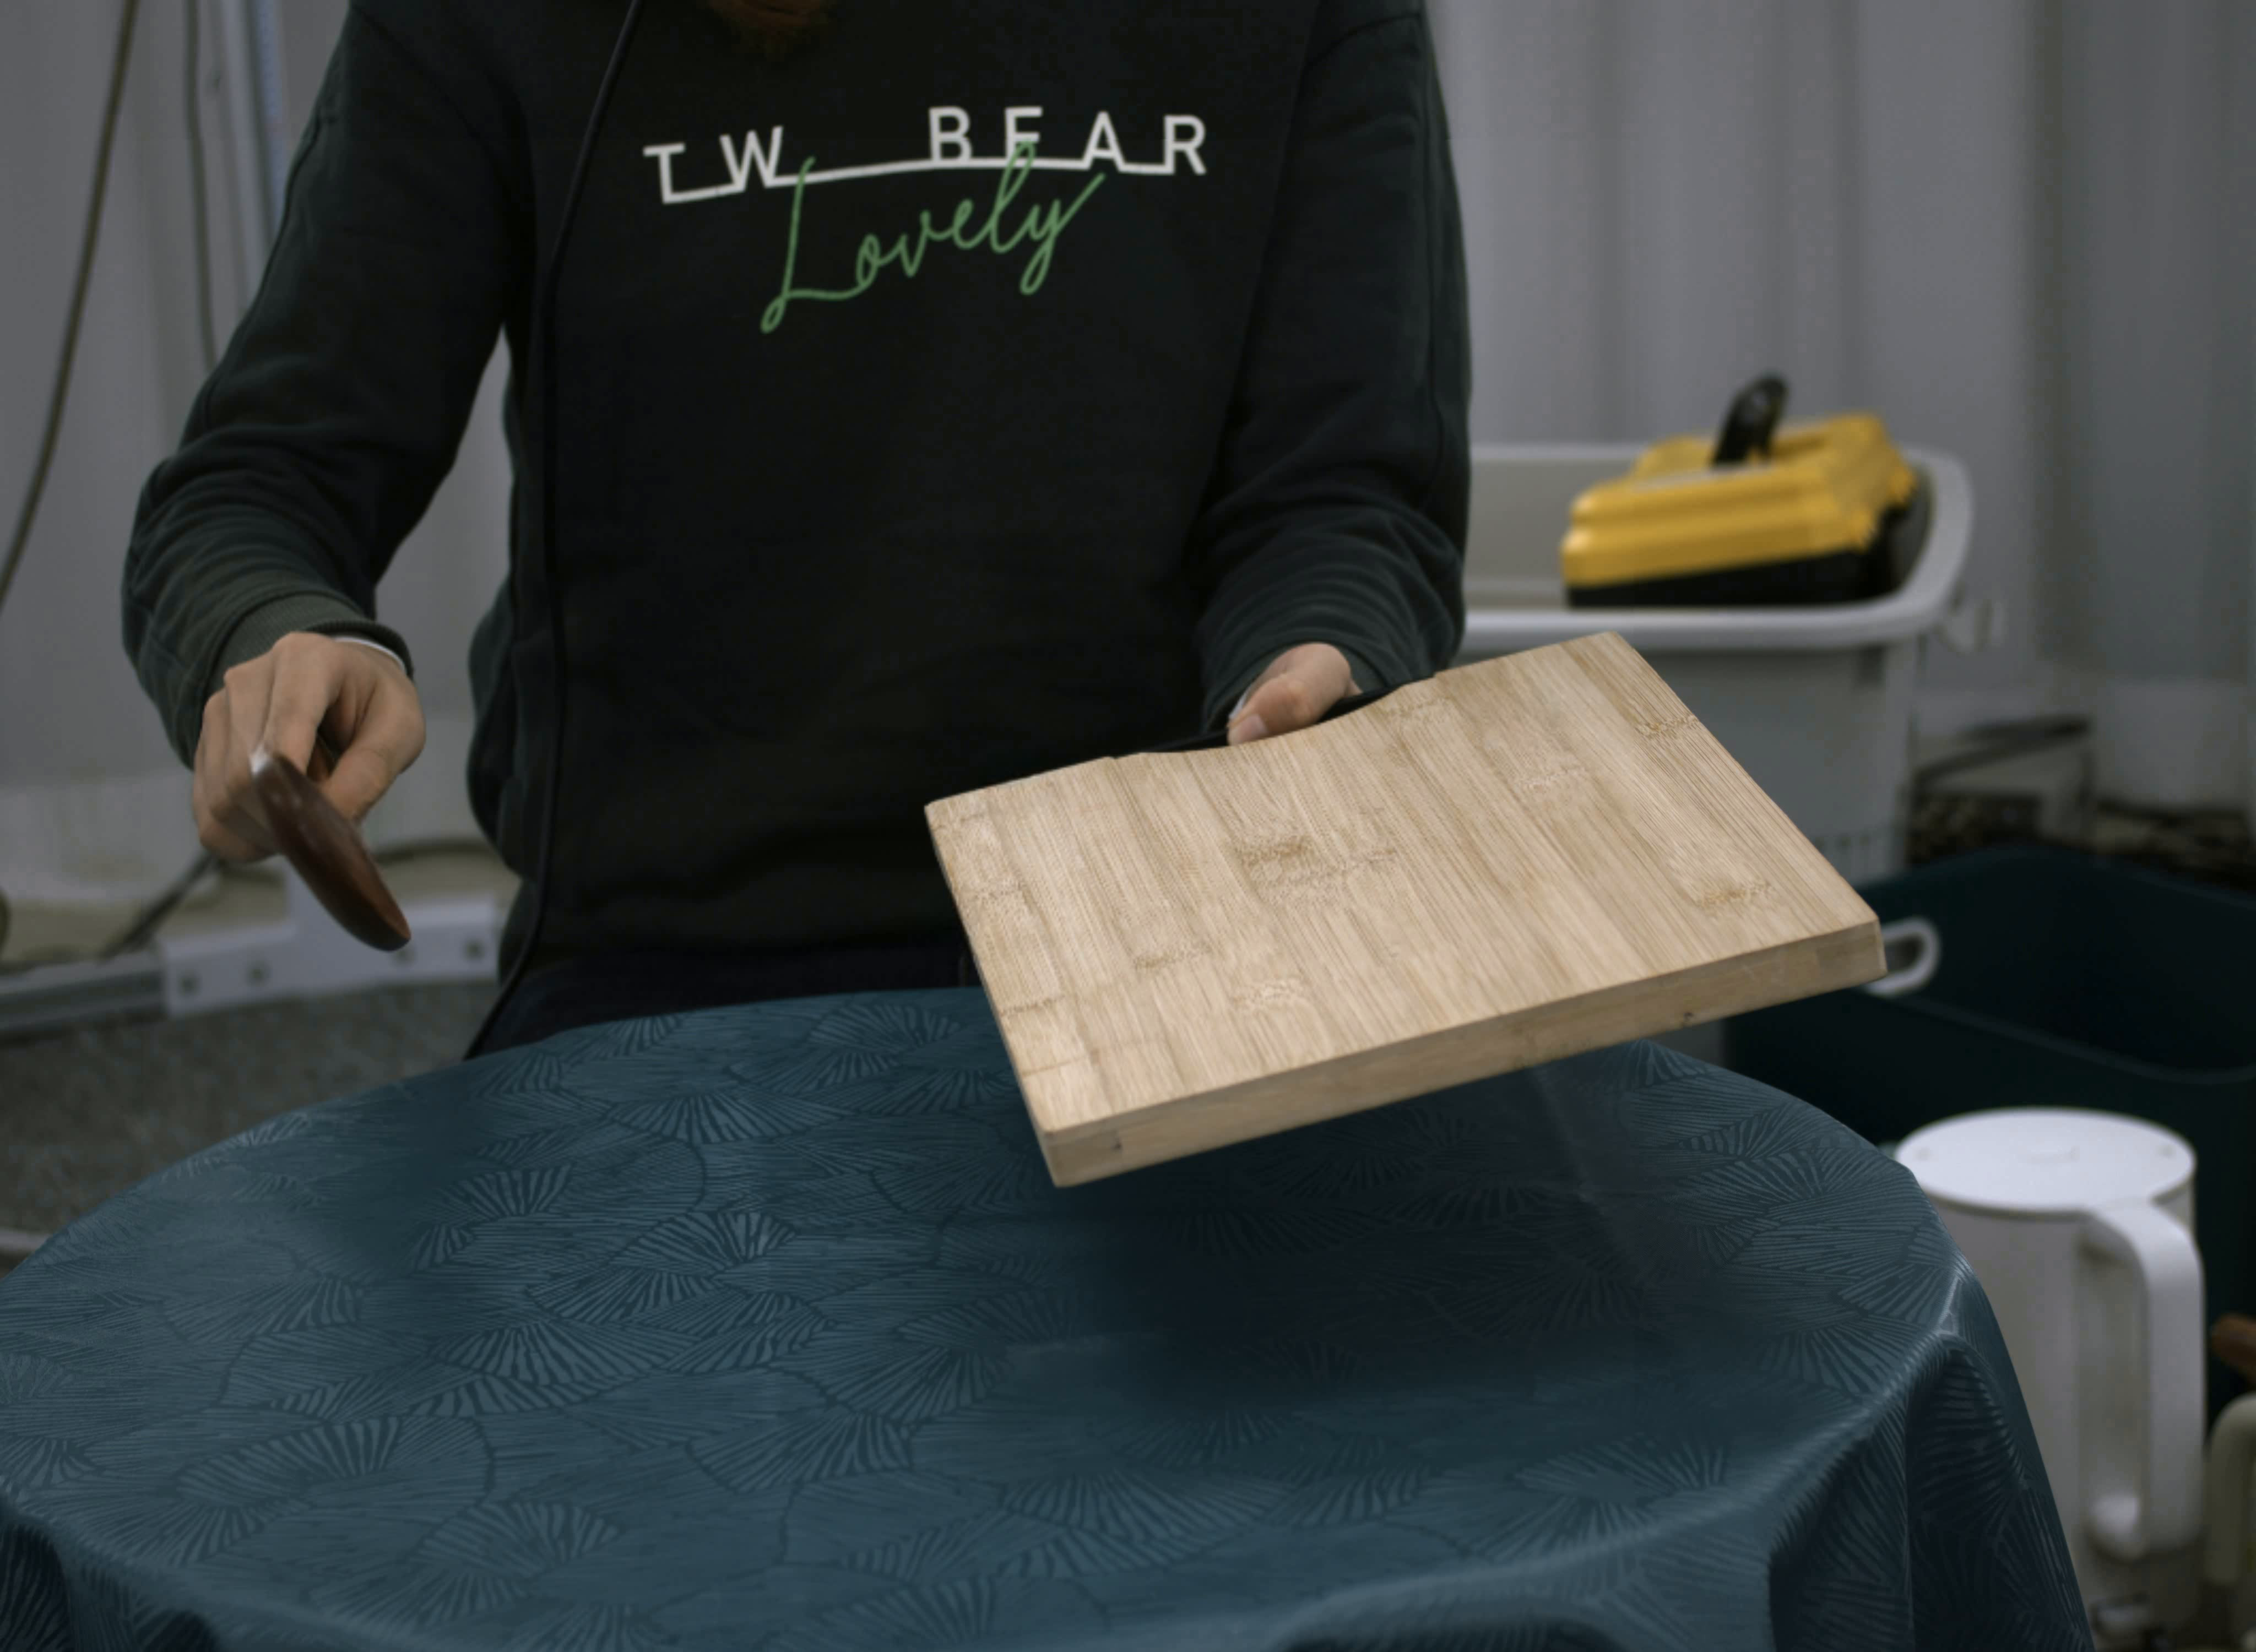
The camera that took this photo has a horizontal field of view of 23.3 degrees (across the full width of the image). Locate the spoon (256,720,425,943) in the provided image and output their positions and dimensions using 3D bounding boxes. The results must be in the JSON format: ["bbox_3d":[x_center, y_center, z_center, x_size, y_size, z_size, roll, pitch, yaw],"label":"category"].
[{"bbox_3d":[-0.251,-0.005,1.714,0.017,0.075,0.217,-37,14,-2],"label":"spoon"}]

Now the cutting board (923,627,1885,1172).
[{"bbox_3d":[0.071,0.016,1.671,0.250,0.023,0.351,-14,17,-5],"label":"cutting board"}]
